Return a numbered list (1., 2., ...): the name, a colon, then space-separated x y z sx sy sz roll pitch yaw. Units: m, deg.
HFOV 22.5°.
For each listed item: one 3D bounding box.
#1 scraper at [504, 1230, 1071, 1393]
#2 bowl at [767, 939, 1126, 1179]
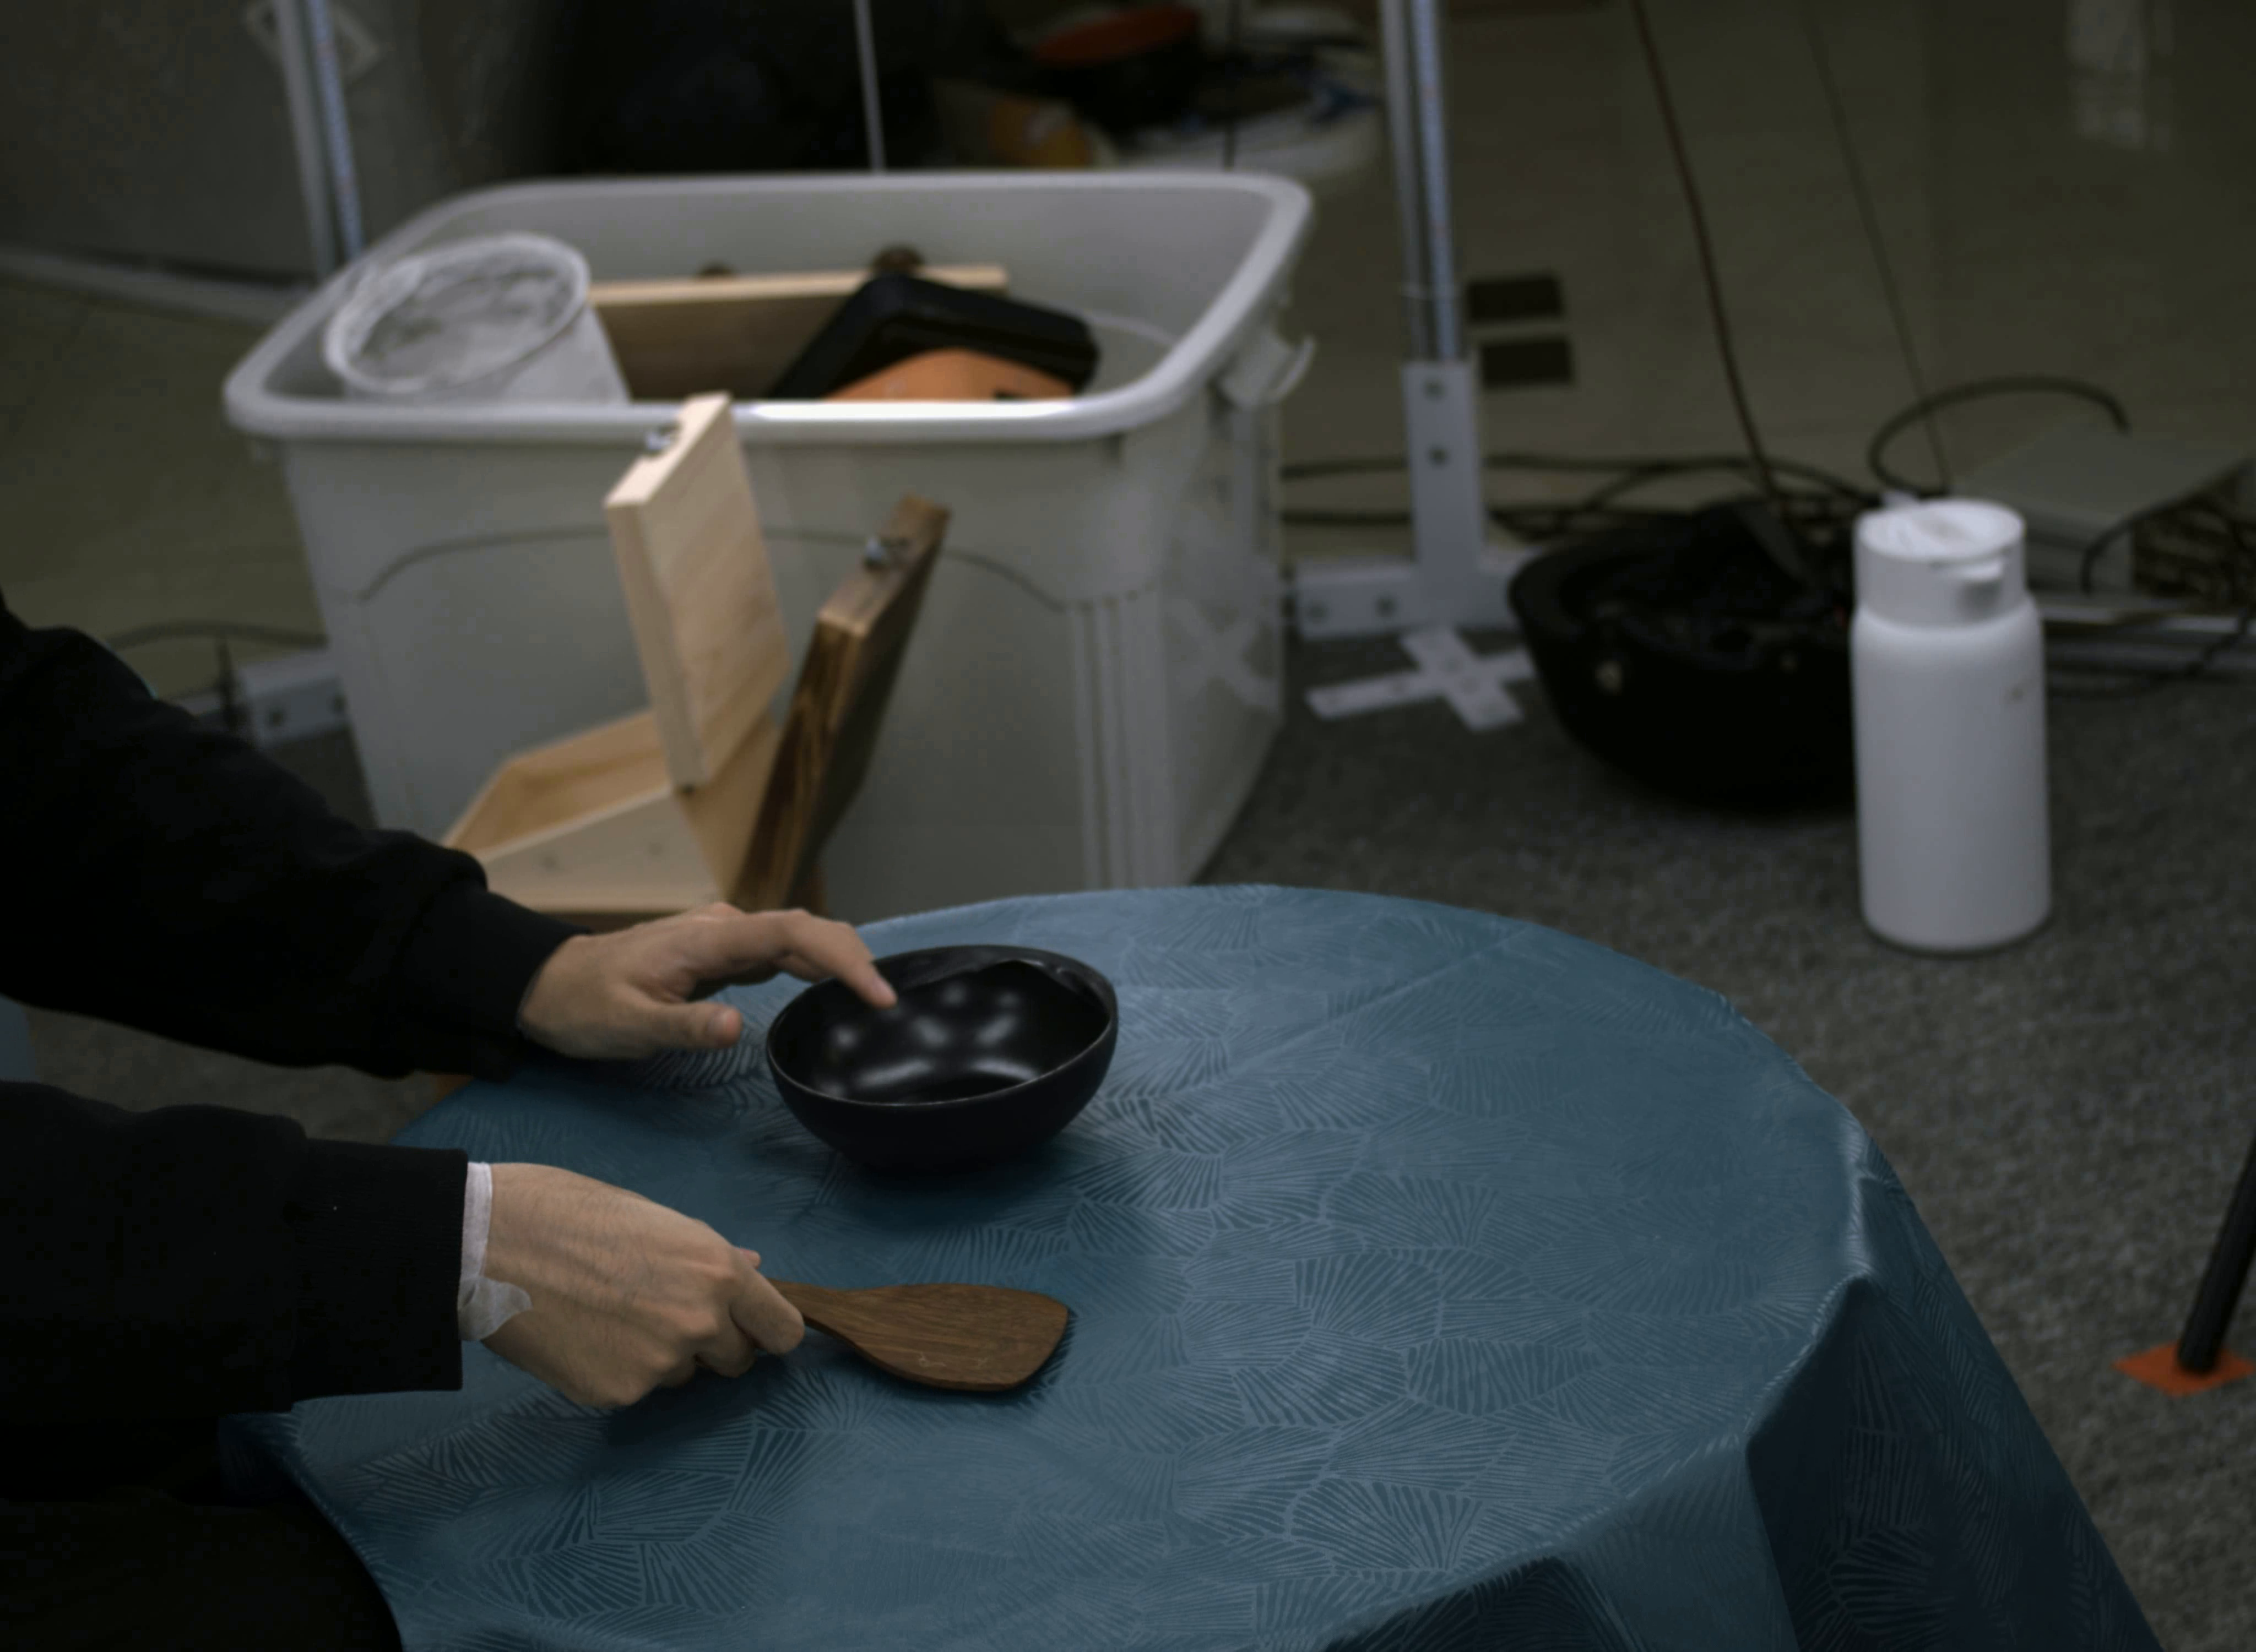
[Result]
1. scraper: -0.127 0.173 2.070 0.210 0.011 0.075 10 25 12
2. bowl: -0.068 0.098 2.201 0.140 0.050 0.138 -6 28 3
